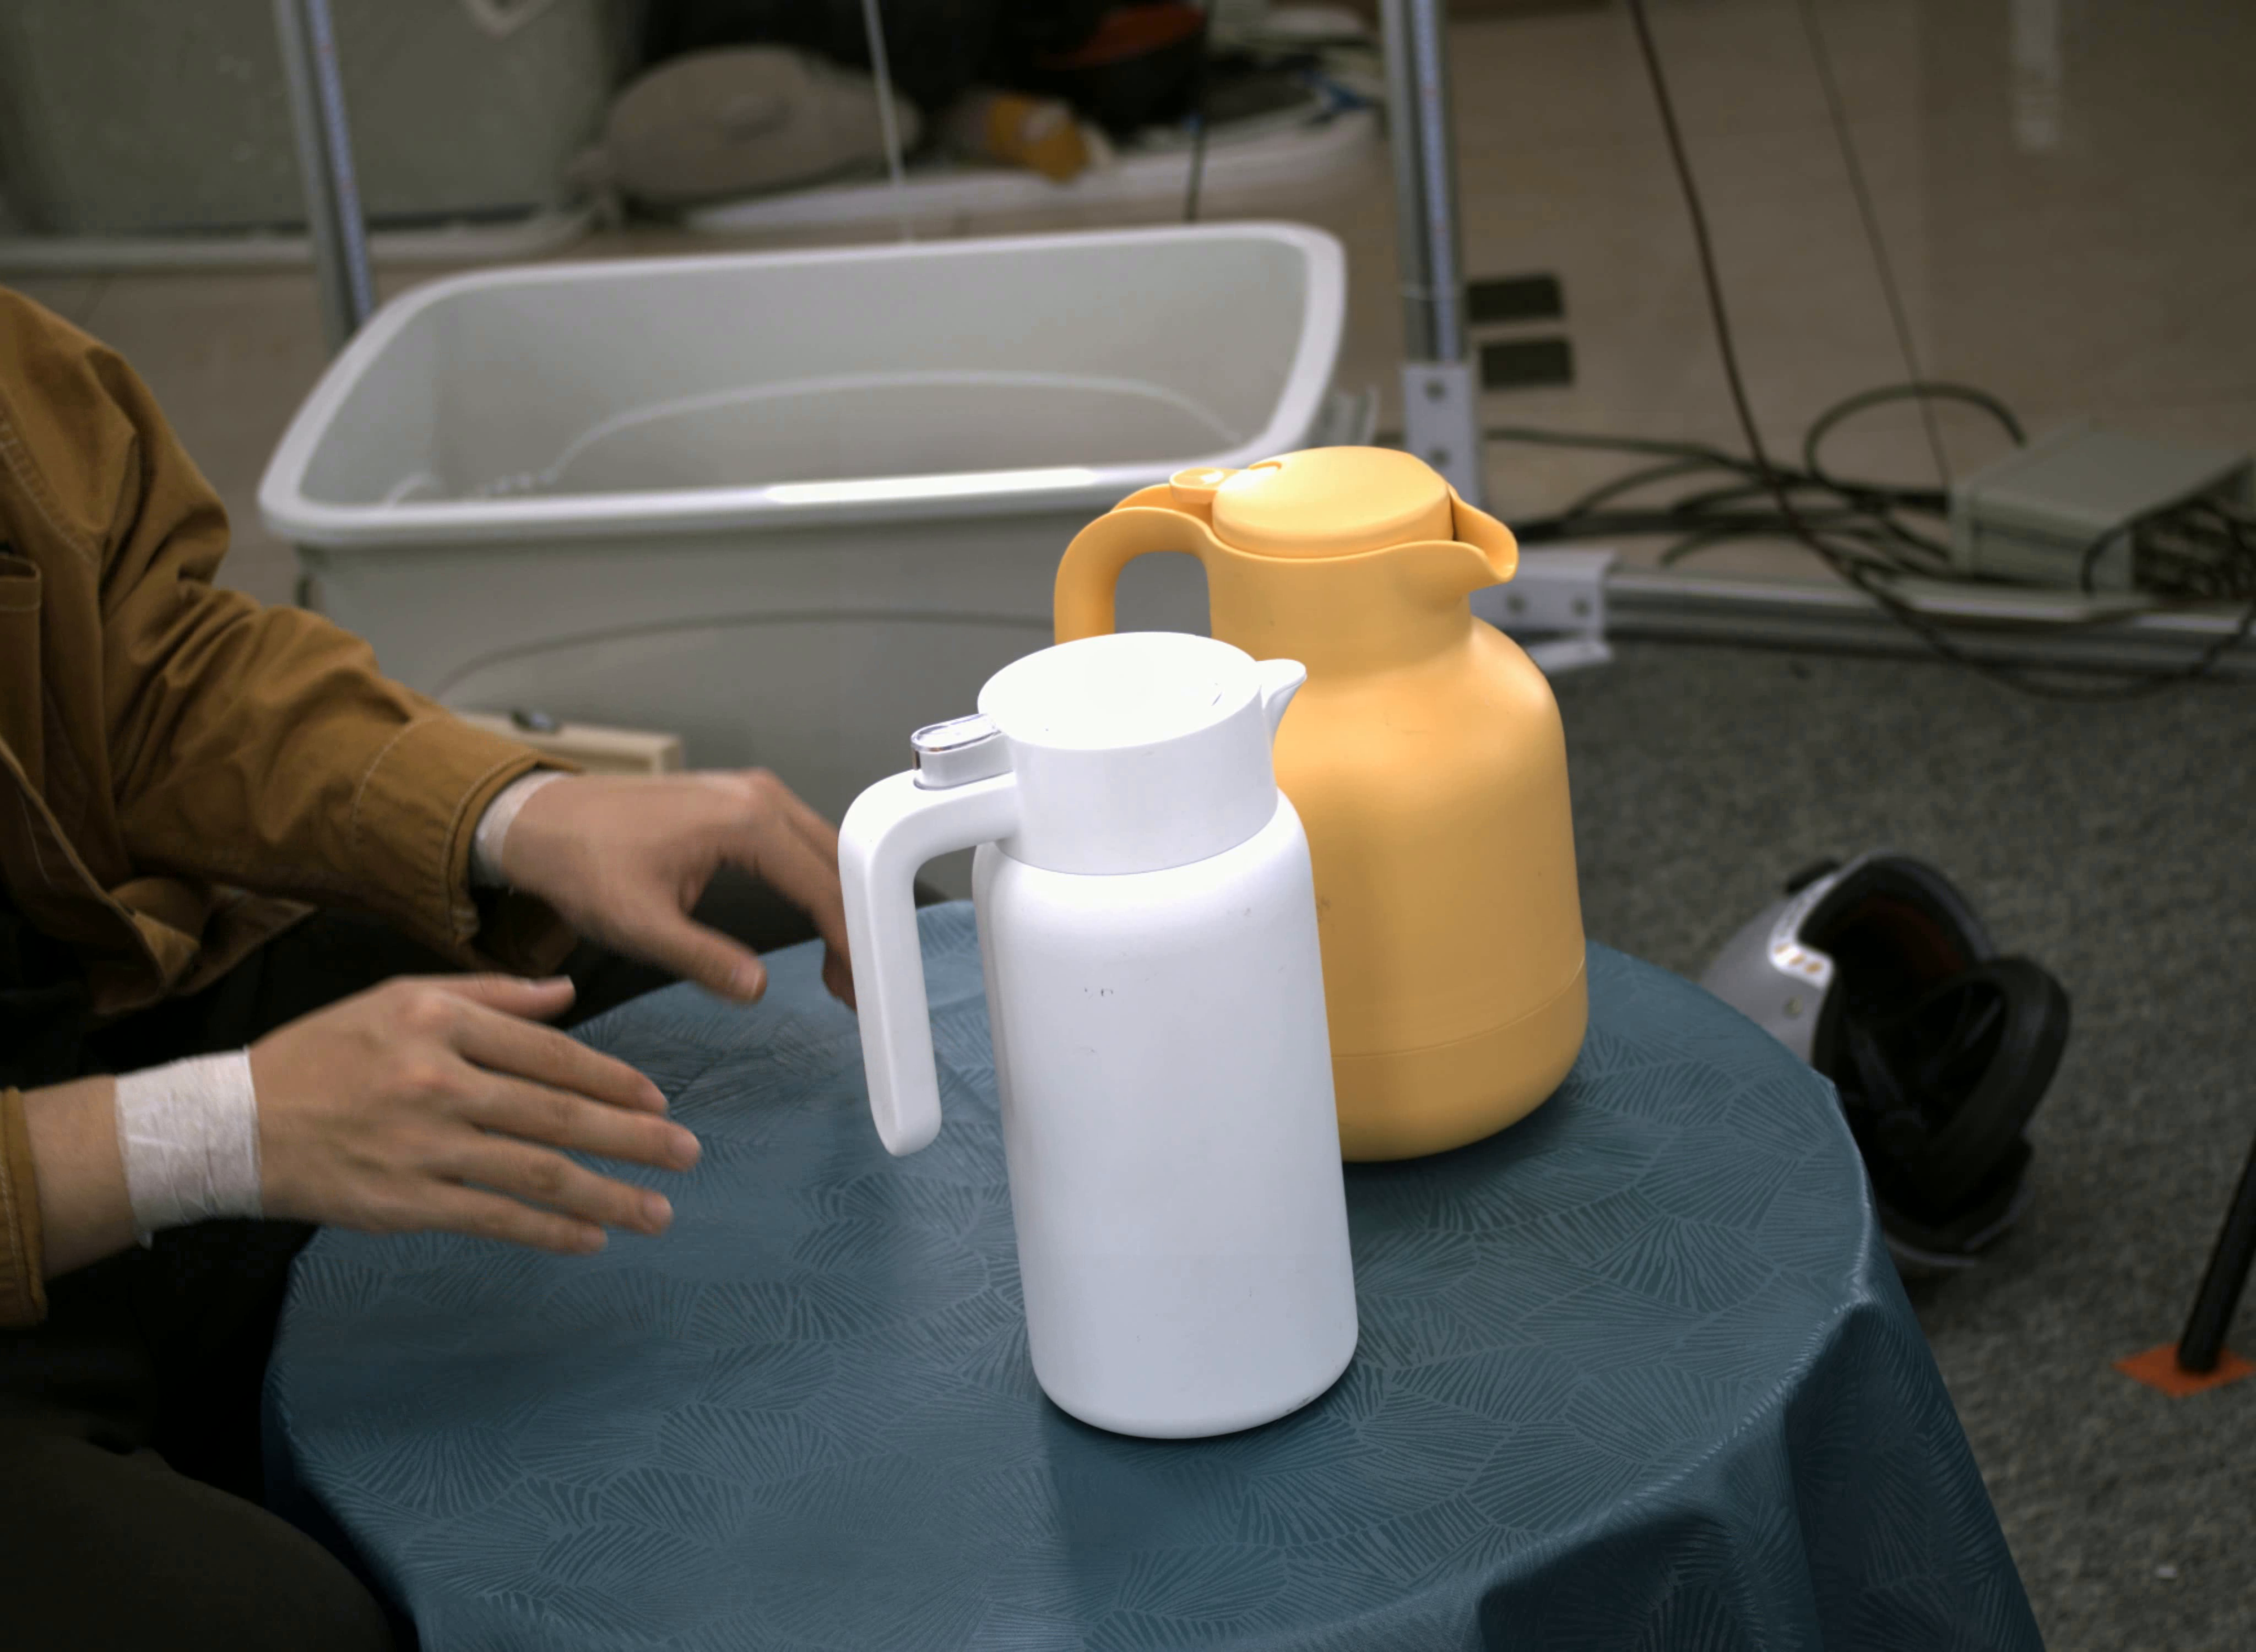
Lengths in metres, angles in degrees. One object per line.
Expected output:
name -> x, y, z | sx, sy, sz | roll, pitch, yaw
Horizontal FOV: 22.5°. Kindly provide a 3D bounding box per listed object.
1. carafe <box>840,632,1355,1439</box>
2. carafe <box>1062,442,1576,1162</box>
carafe -> -0.005, 0.077, 1.962 | 0.172, 0.273, 0.122 | -16, 29, -19
carafe -> 0.070, -0.017, 2.151 | 0.201, 0.264, 0.162 | 12, 29, 31
